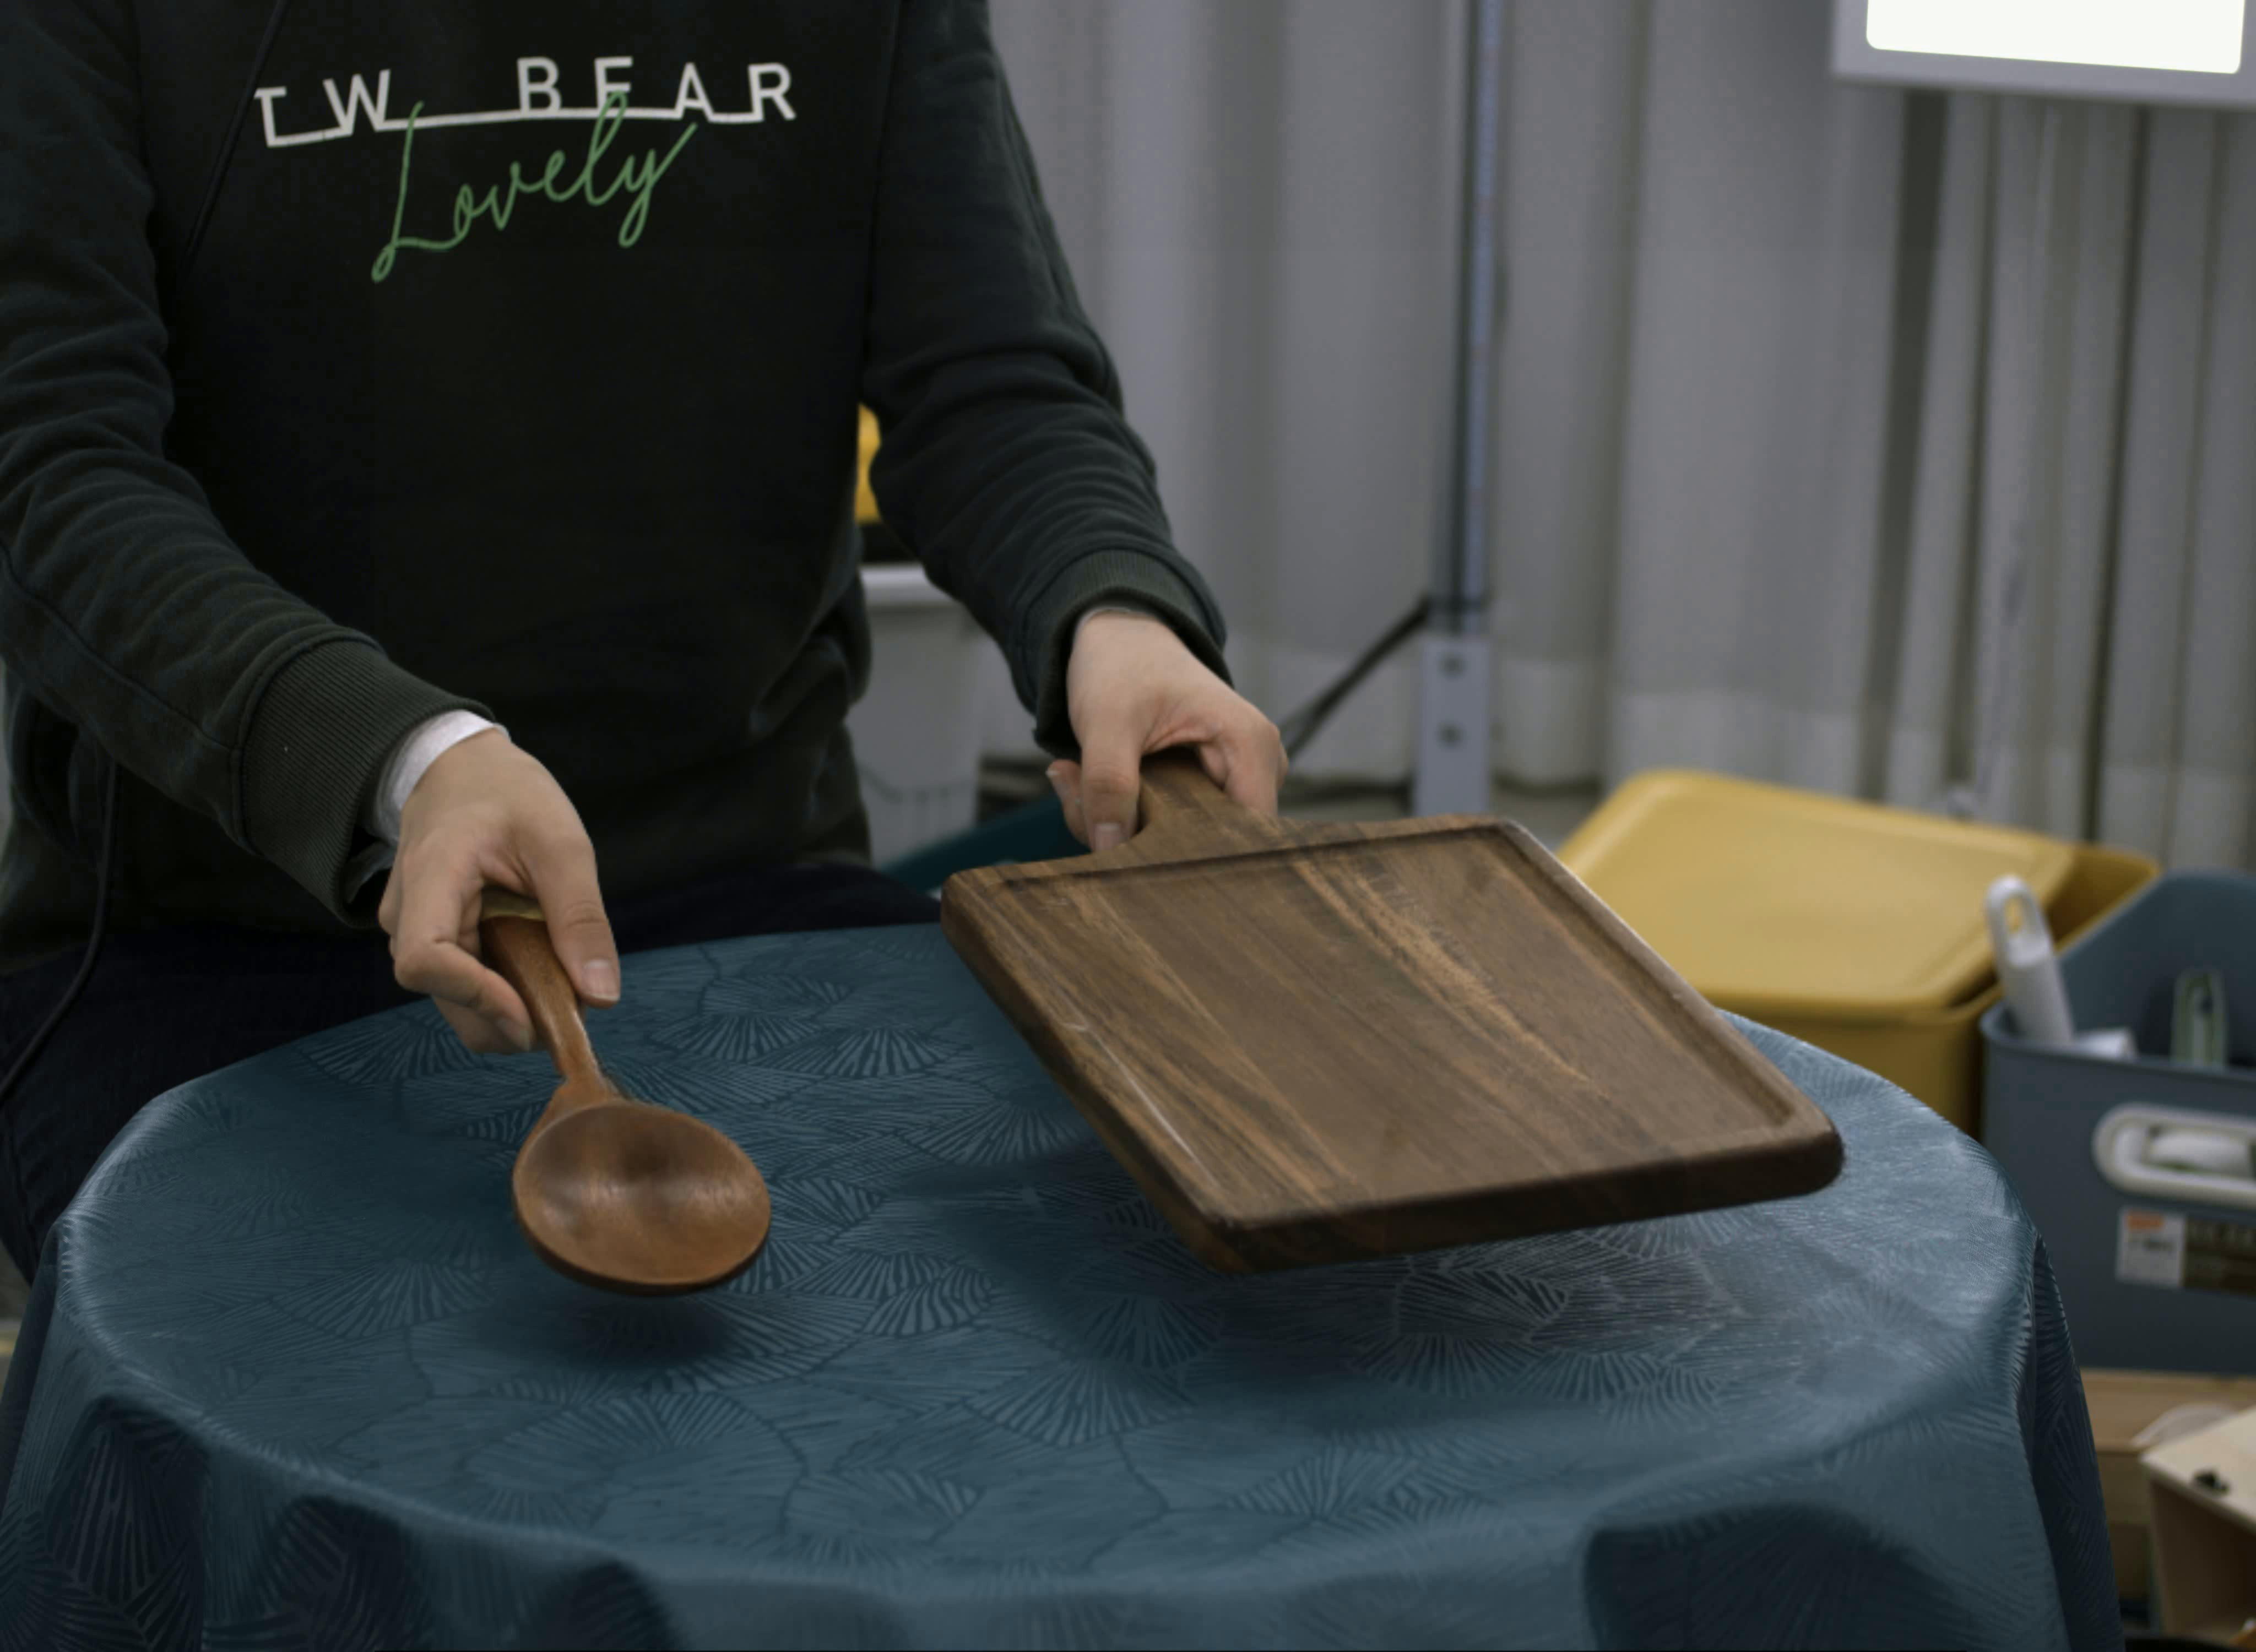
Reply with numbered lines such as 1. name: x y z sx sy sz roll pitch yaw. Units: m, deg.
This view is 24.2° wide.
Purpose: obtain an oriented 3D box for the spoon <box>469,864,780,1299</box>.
1. spoon: -0.159 0.075 1.556 0.075 0.017 0.213 -8 36 -18

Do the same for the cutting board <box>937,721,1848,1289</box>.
1. cutting board: 0.057 0.041 1.621 0.201 0.023 0.348 -7 25 -19
